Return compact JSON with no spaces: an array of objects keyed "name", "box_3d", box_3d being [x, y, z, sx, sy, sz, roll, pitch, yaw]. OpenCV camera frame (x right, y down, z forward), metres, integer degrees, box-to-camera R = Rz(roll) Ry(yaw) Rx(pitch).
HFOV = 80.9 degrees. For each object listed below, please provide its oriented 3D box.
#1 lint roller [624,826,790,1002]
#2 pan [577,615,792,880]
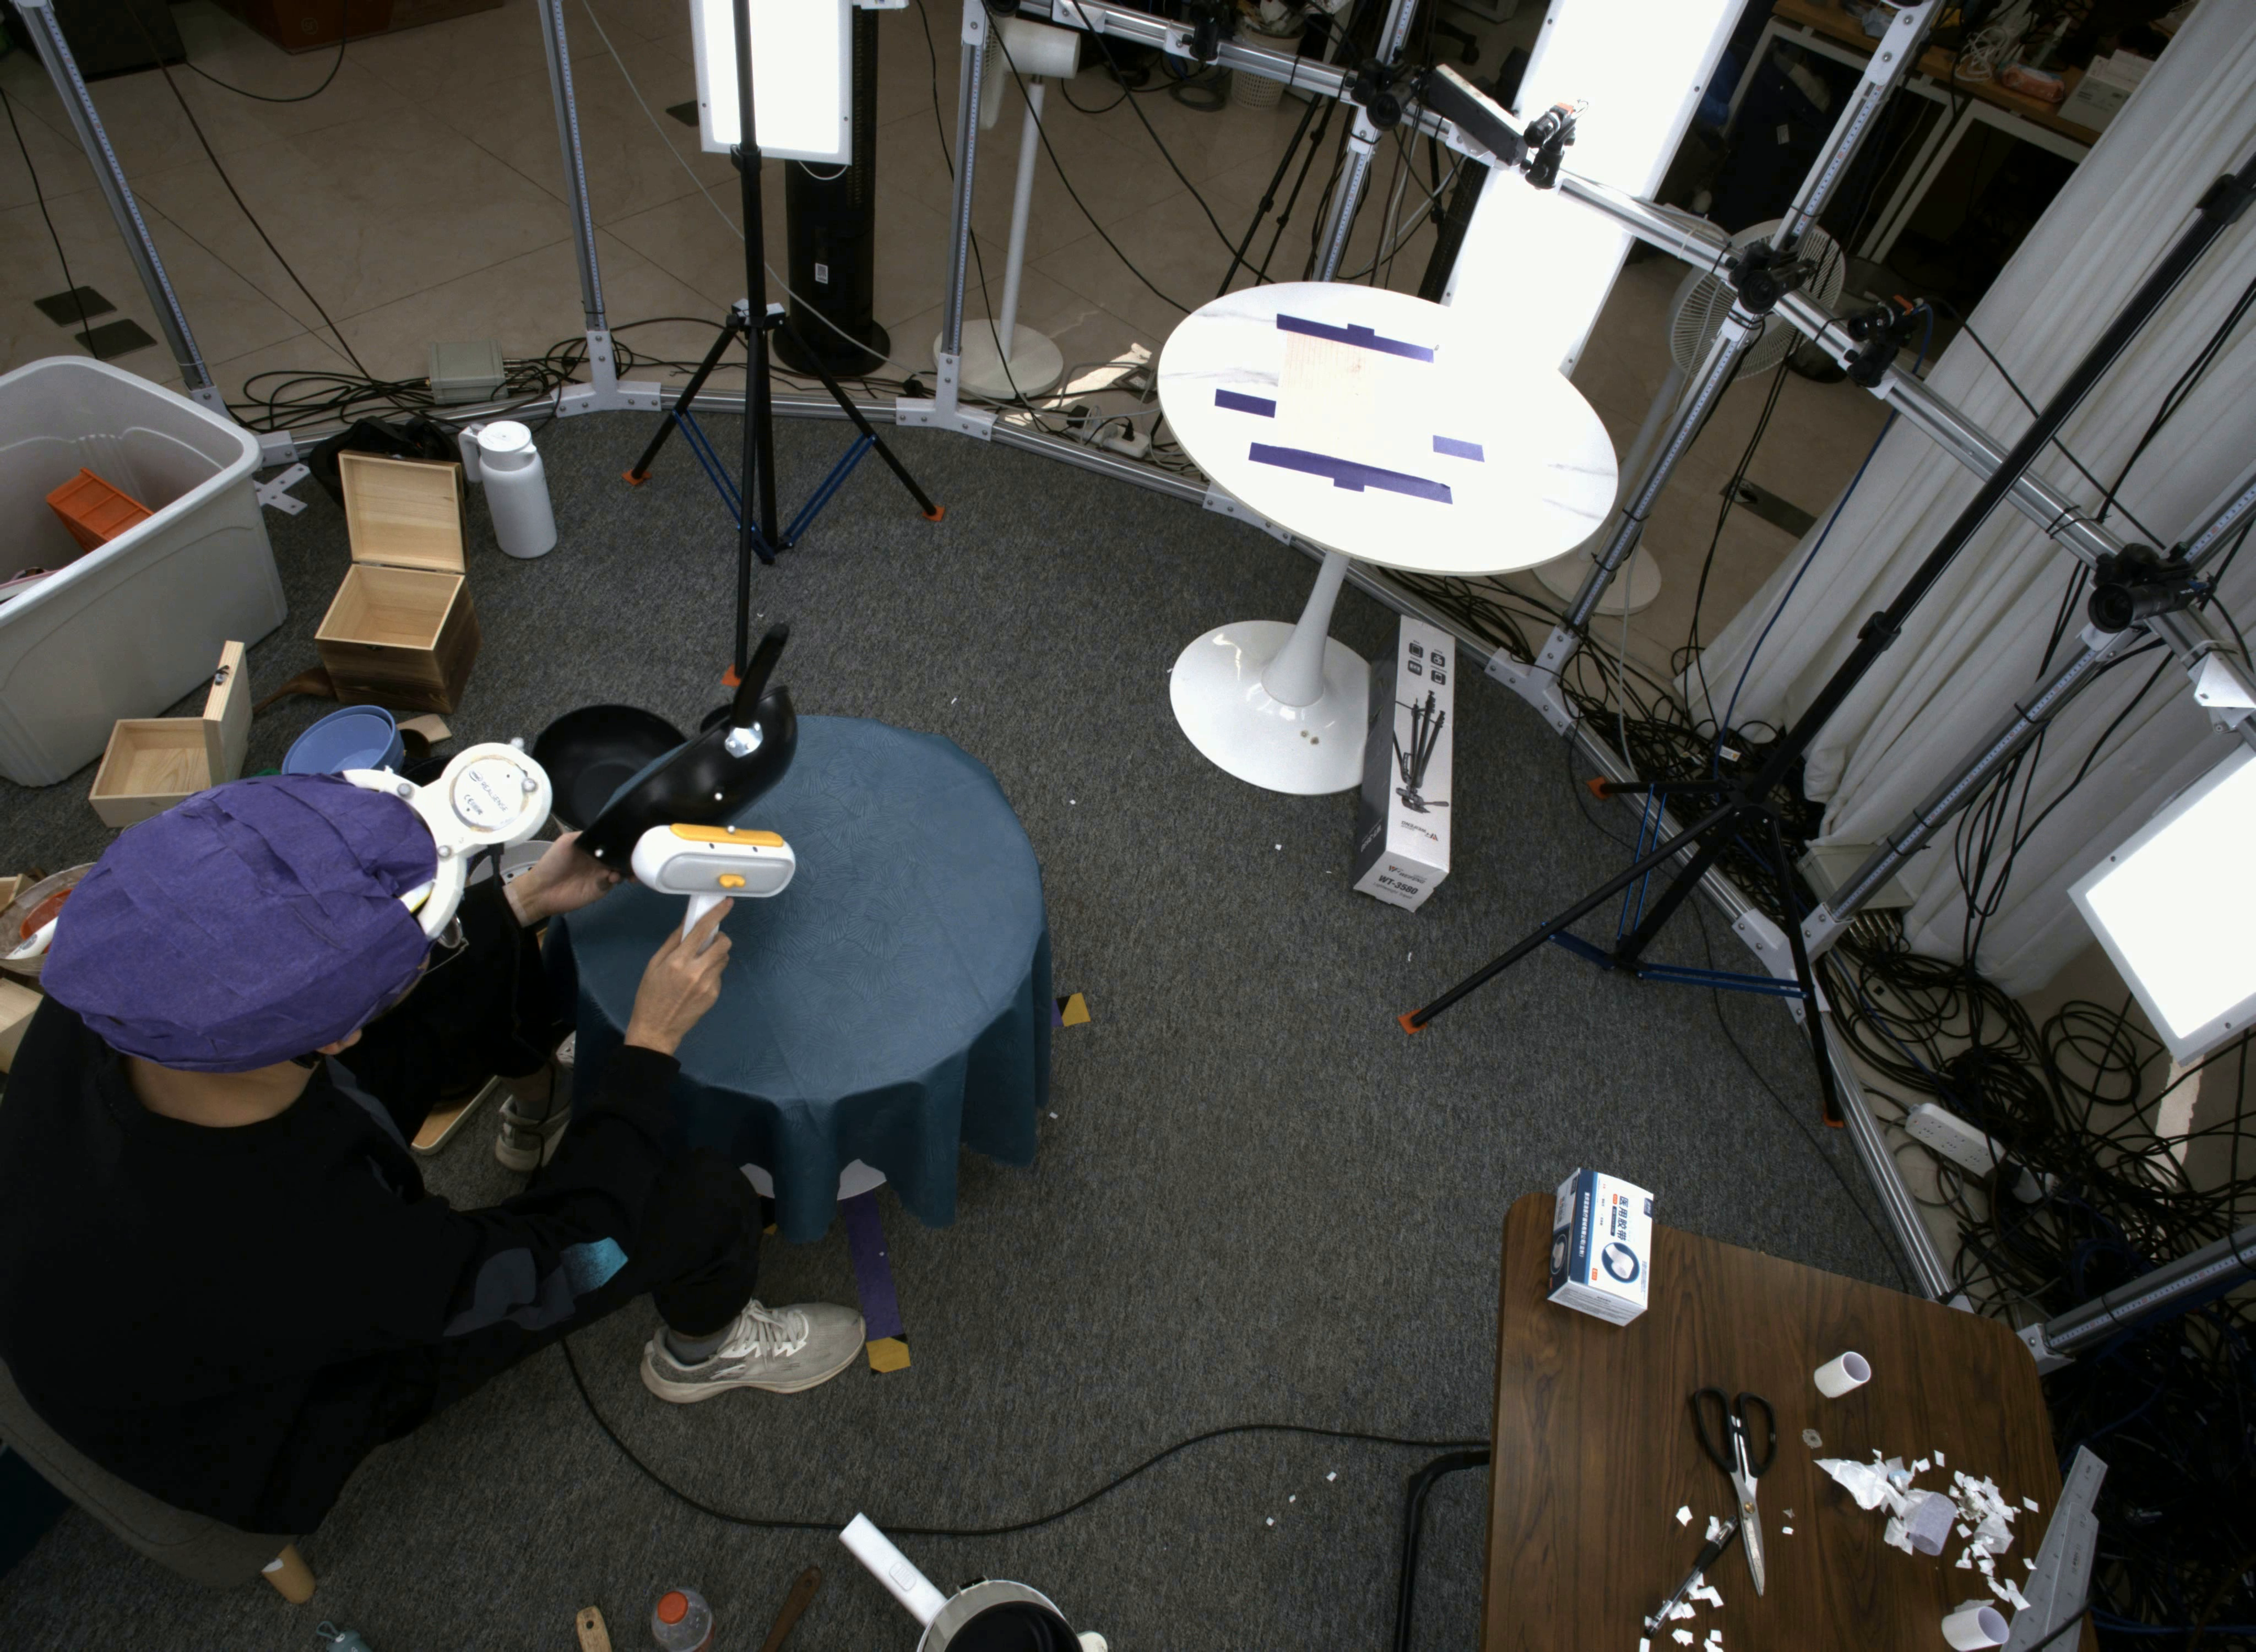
[{"name":"lint roller","box_3d":[-0.464,0.092,1.403,0.072,0.195,0.196,30,17,28]},{"name":"pan","box_3d":[-0.456,-0.075,1.437,0.113,0.471,0.309,50,47,-8]}]
